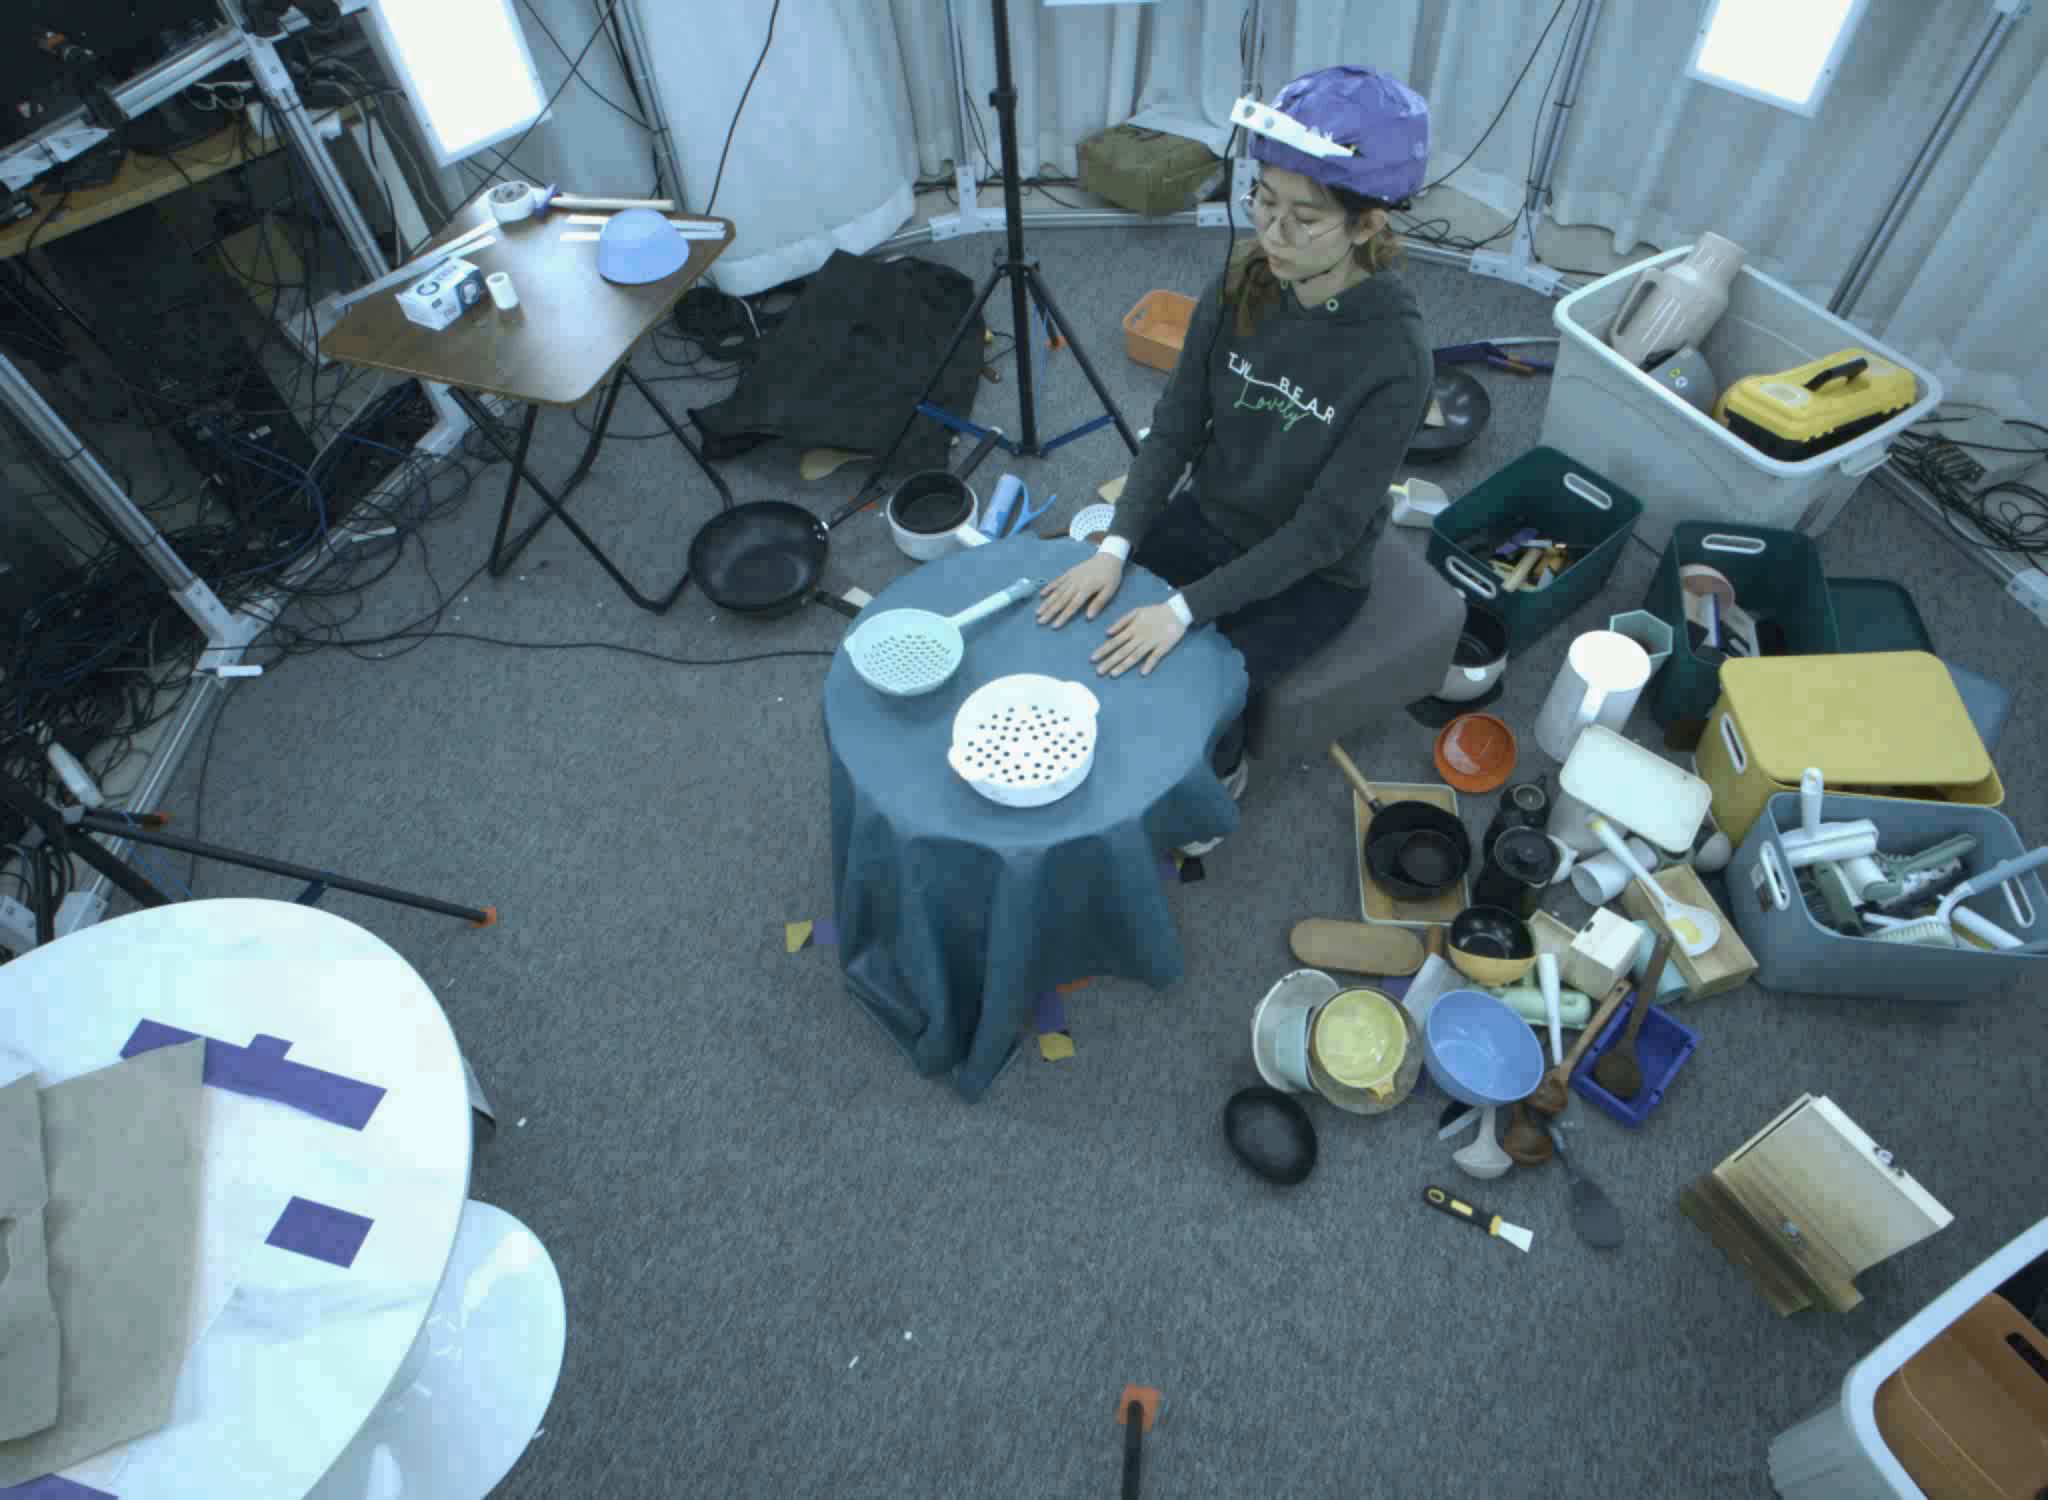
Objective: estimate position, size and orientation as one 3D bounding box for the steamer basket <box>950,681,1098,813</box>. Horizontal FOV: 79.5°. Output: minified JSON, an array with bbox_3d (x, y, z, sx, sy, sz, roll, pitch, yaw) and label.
[{"bbox_3d":[0.002,-0.003,1.761,0.232,0.070,0.198,-31,61,-19],"label":"steamer basket"}]

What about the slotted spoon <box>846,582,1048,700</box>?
[{"bbox_3d":[-0.101,-0.187,1.893,0.361,0.076,0.166,-37,62,-22],"label":"slotted spoon"}]
